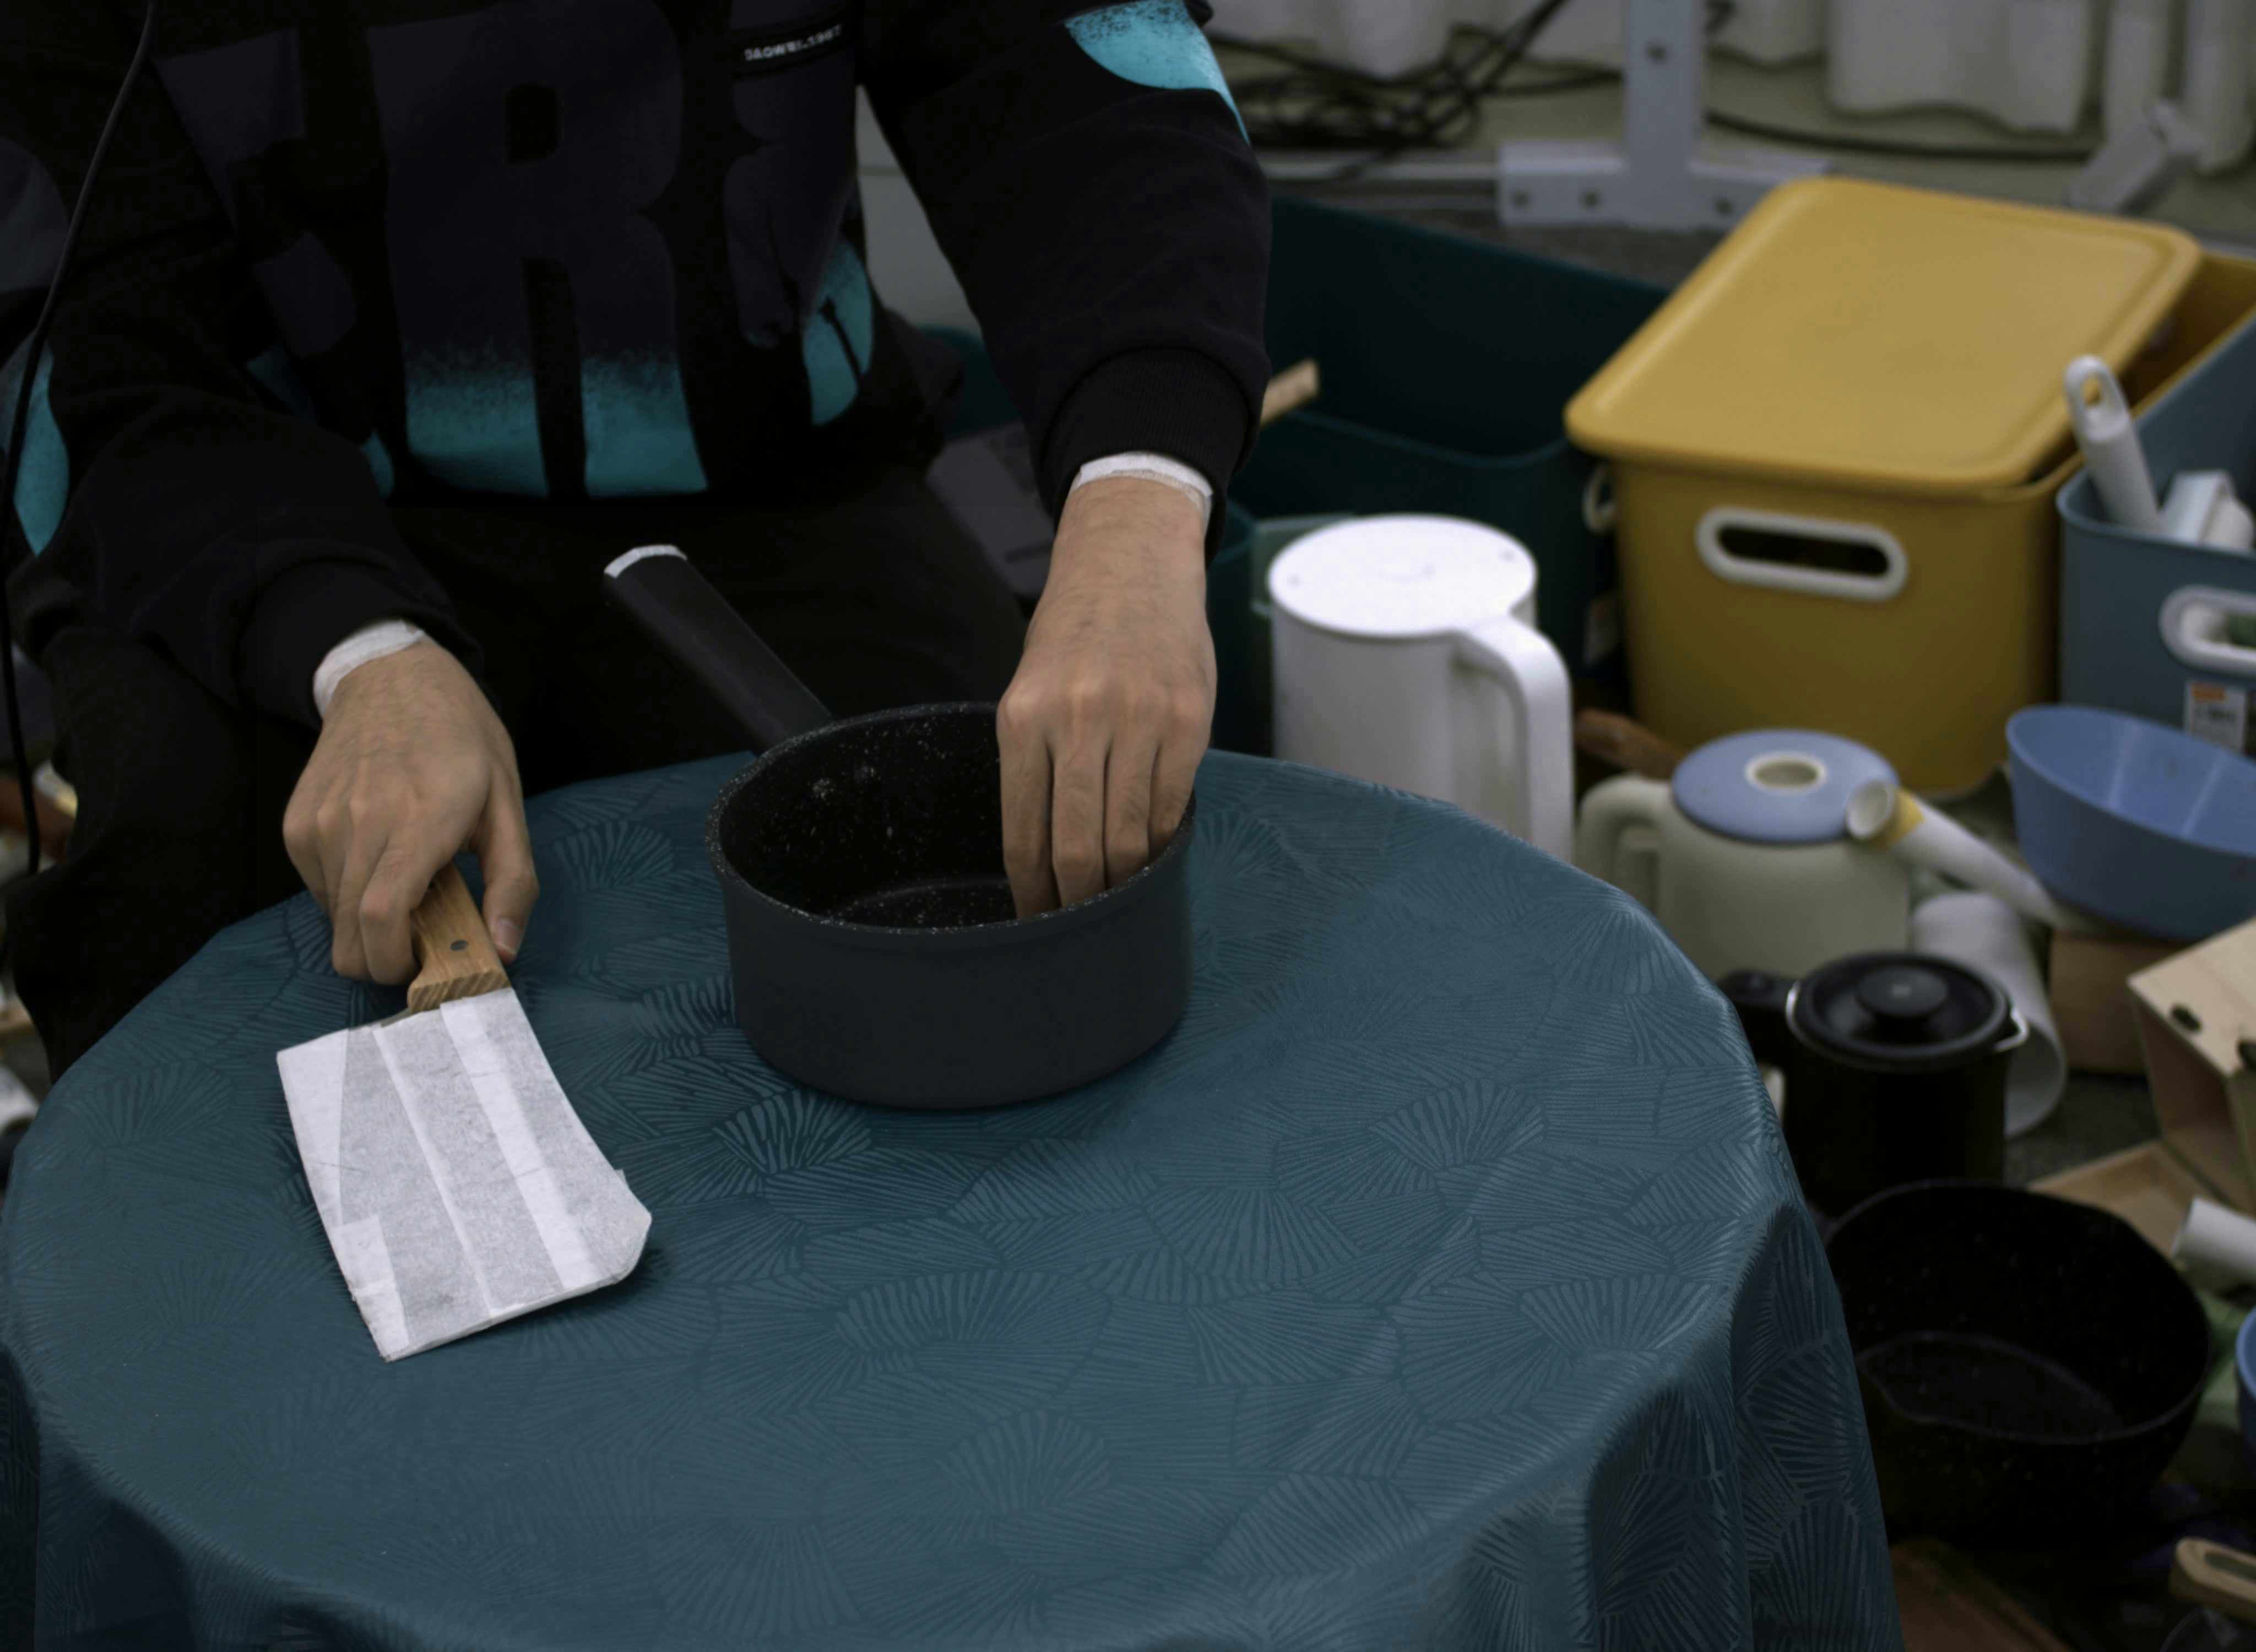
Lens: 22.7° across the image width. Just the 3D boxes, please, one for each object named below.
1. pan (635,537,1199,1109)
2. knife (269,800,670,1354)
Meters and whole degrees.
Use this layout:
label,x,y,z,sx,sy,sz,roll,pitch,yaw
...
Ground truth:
label,x,y,z,sx,sy,sz,roll,pitch,yaw
pan,-0.097,-0.005,2.025,0.173,0.085,0.330,-14,30,-25
knife,-0.236,0.080,1.928,0.114,0.021,0.319,-14,34,-9
